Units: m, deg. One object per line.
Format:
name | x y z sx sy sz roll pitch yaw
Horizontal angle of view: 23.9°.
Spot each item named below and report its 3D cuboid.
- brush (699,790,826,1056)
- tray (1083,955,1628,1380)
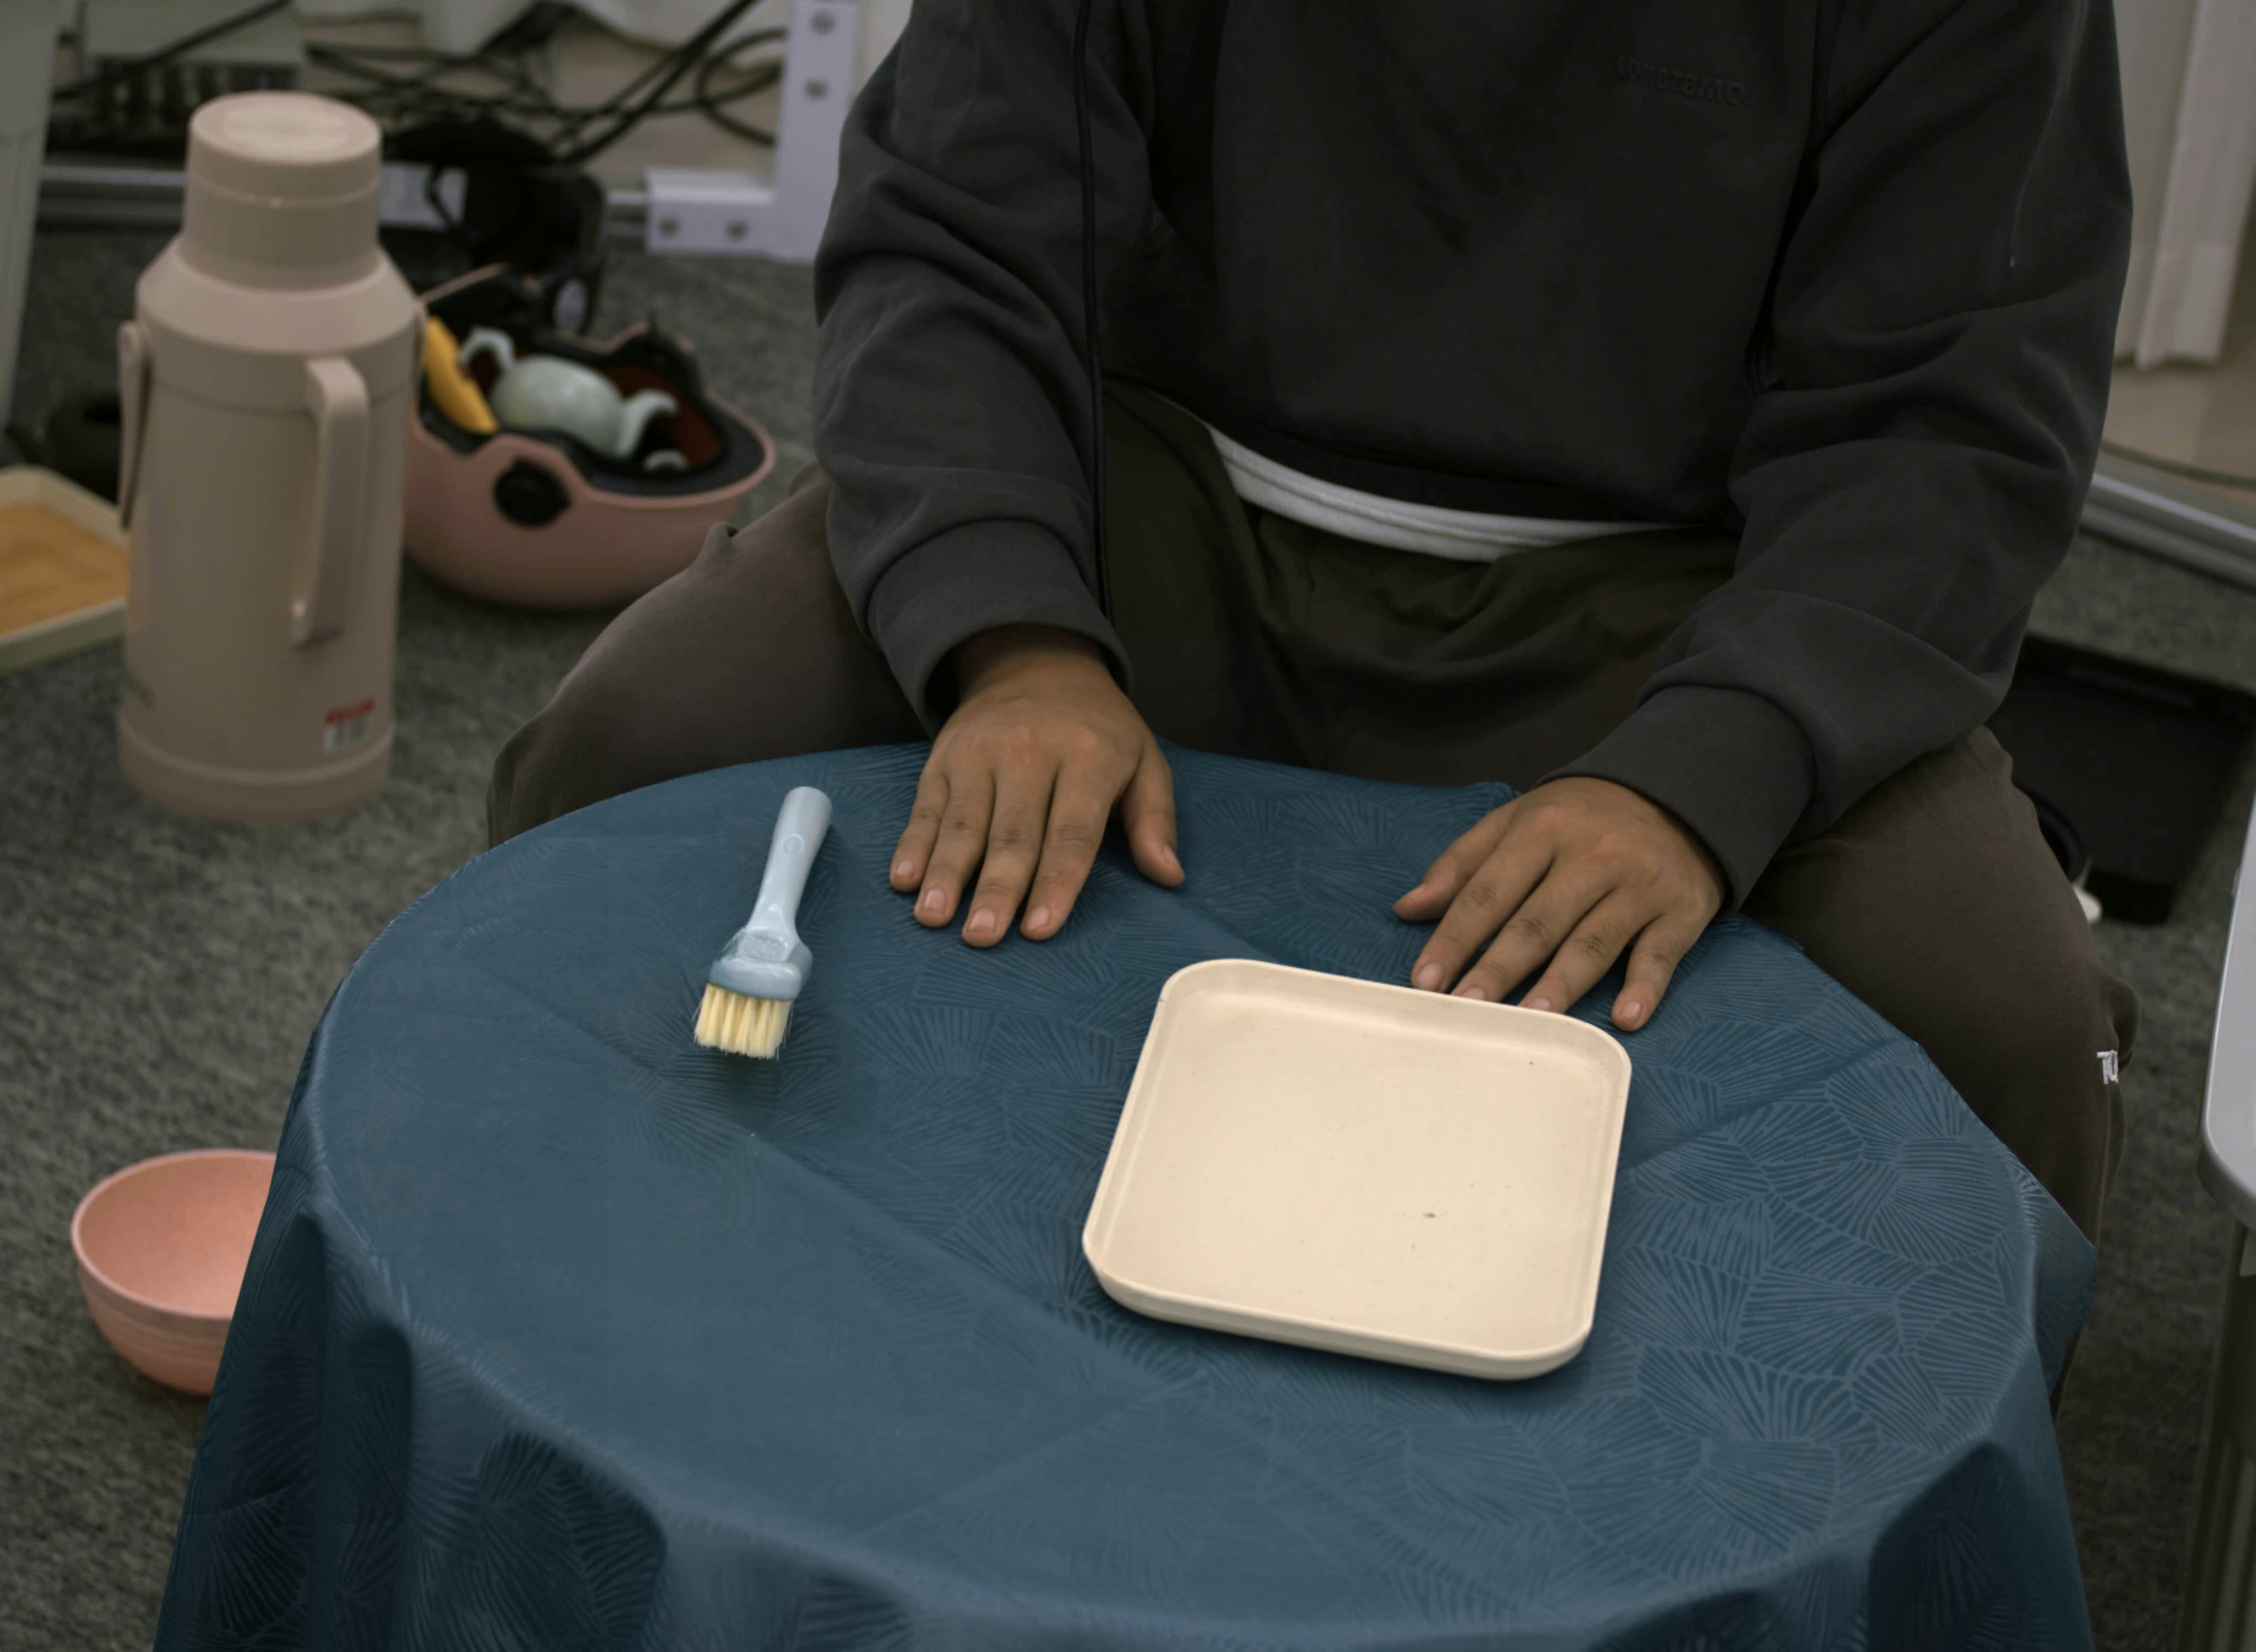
brush | -0.129 0.035 1.917 0.037 0.049 0.229 13 18 -3
tray | 0.081 0.115 1.821 0.171 0.017 0.240 10 27 5
